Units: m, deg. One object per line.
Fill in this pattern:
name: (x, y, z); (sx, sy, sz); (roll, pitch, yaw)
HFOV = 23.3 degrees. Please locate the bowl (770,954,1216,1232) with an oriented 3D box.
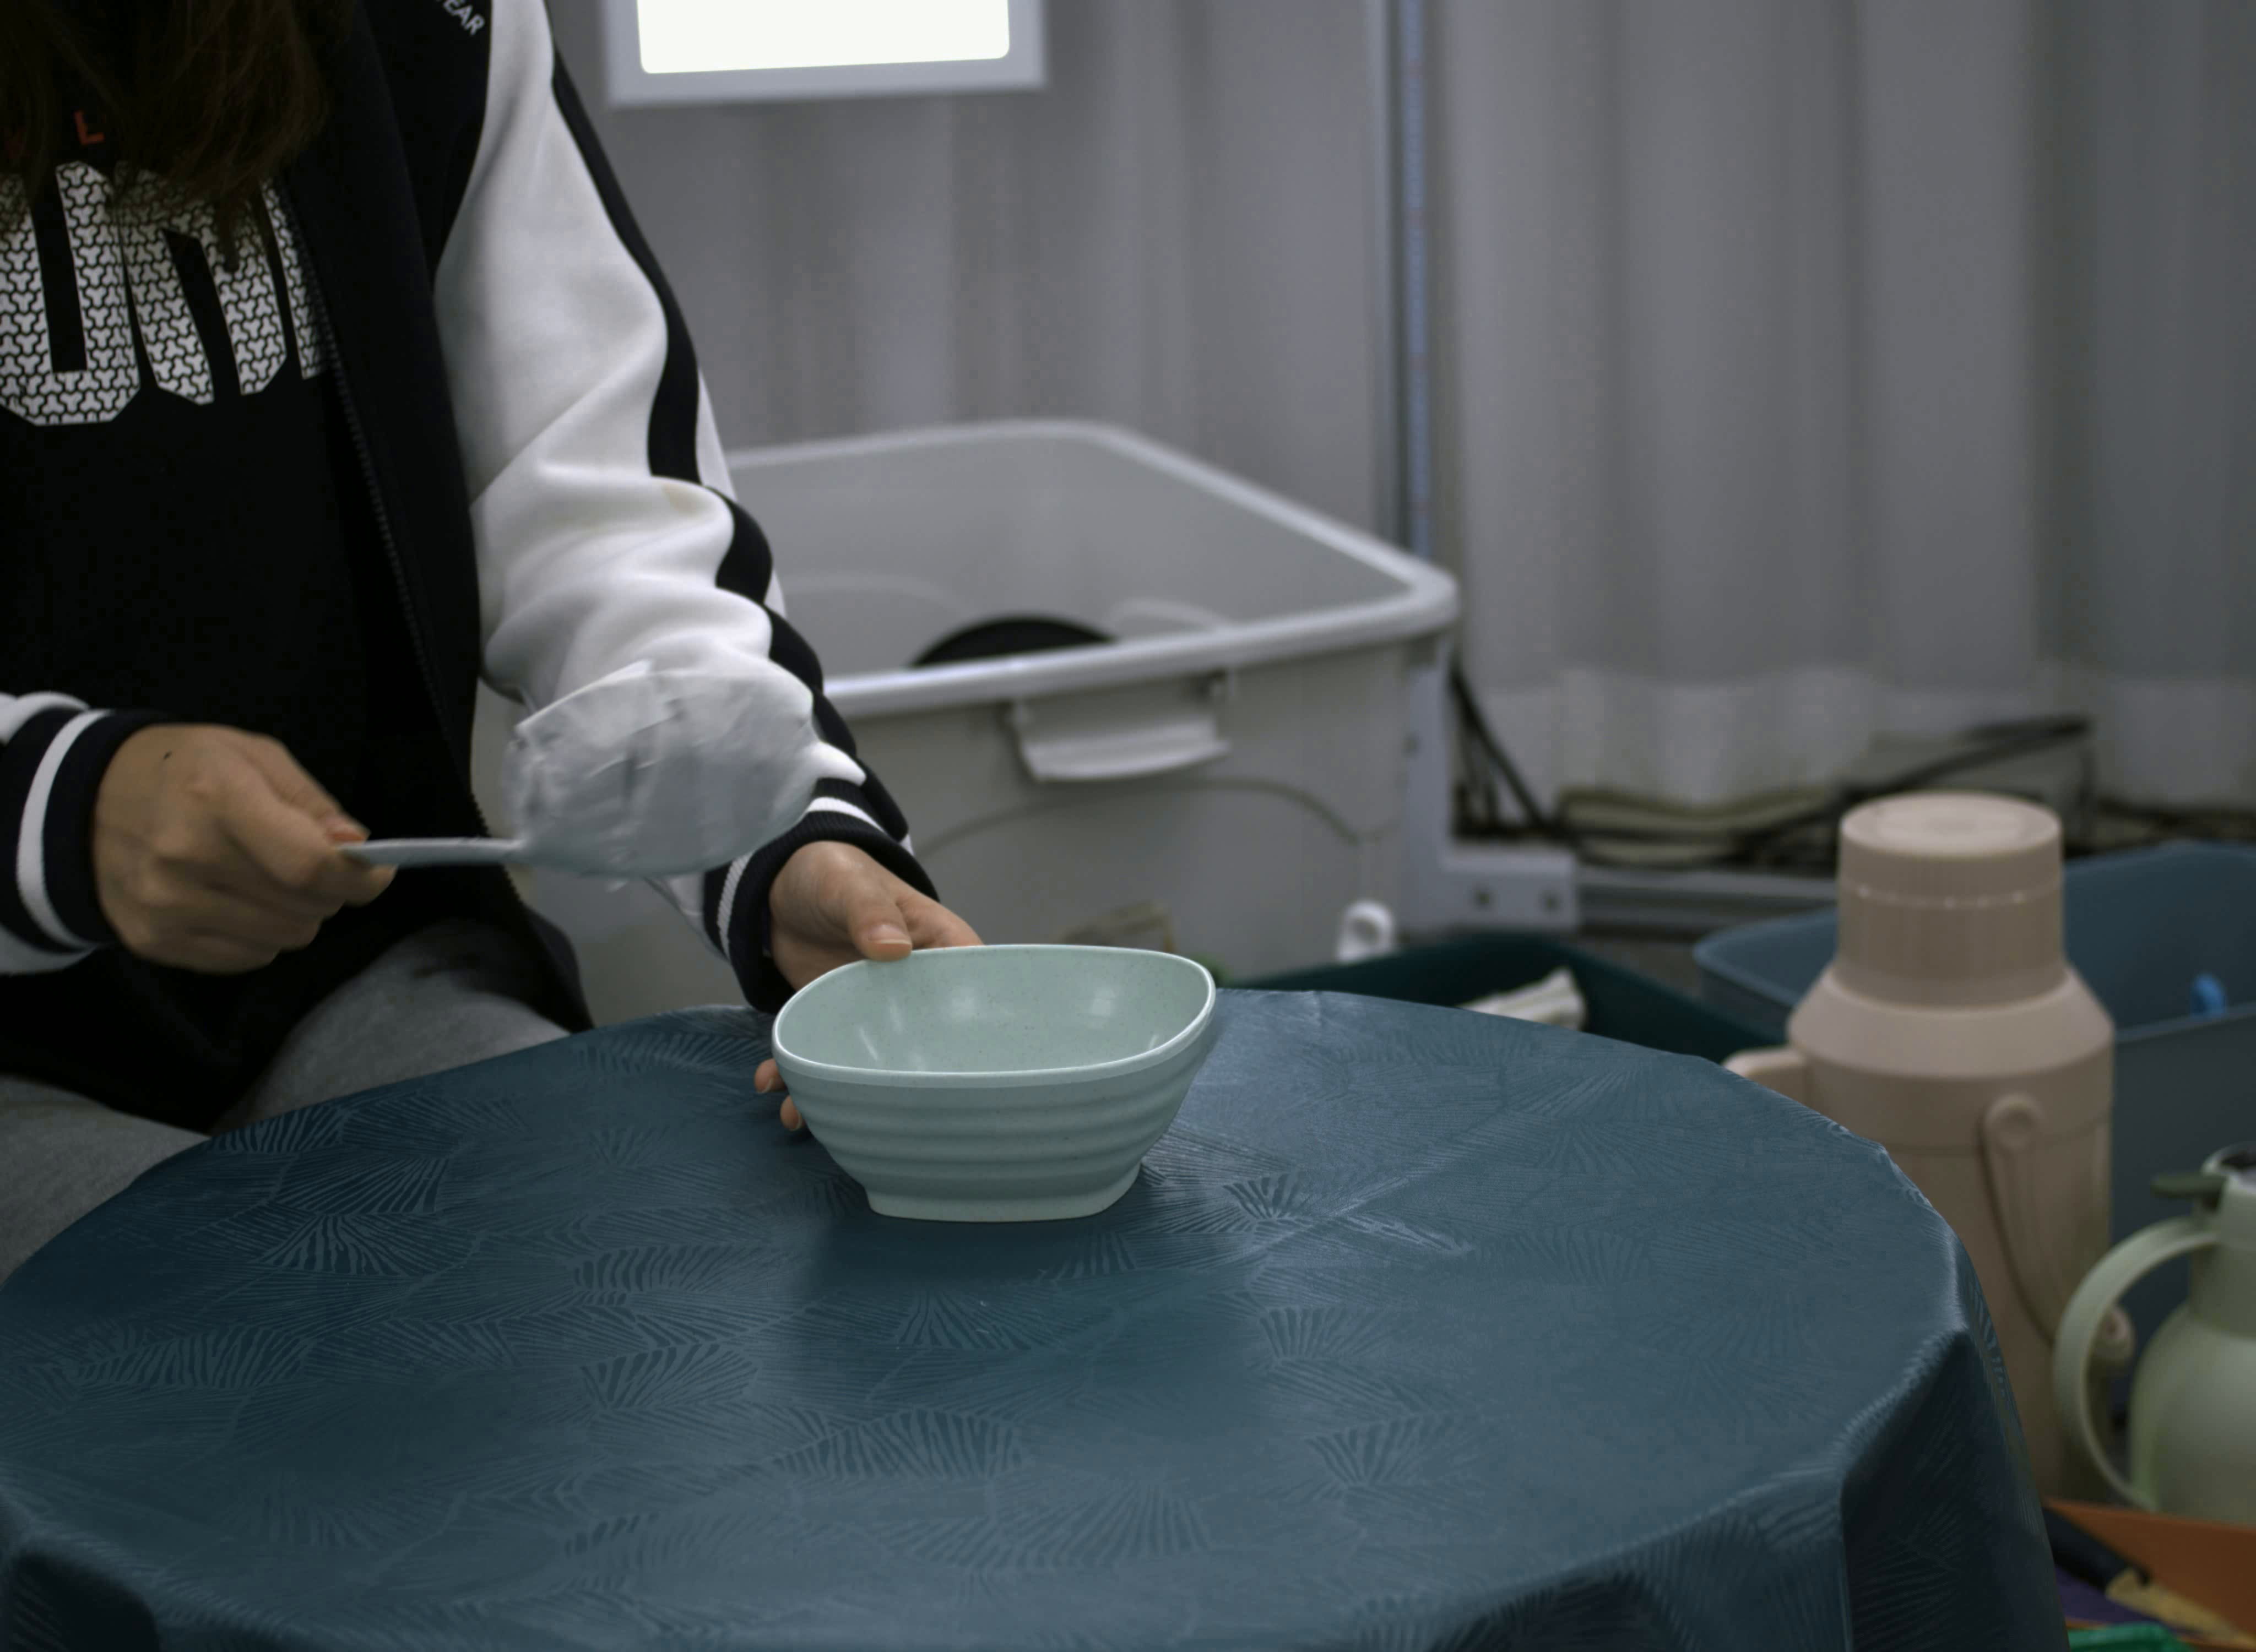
bowl: (-0.041, 0.087, 1.725); (0.151, 0.058, 0.152); (-3, 14, 0)

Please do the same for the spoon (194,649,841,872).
spoon: (-0.193, -0.016, 1.665); (0.099, 0.060, 0.278); (32, -21, -37)
